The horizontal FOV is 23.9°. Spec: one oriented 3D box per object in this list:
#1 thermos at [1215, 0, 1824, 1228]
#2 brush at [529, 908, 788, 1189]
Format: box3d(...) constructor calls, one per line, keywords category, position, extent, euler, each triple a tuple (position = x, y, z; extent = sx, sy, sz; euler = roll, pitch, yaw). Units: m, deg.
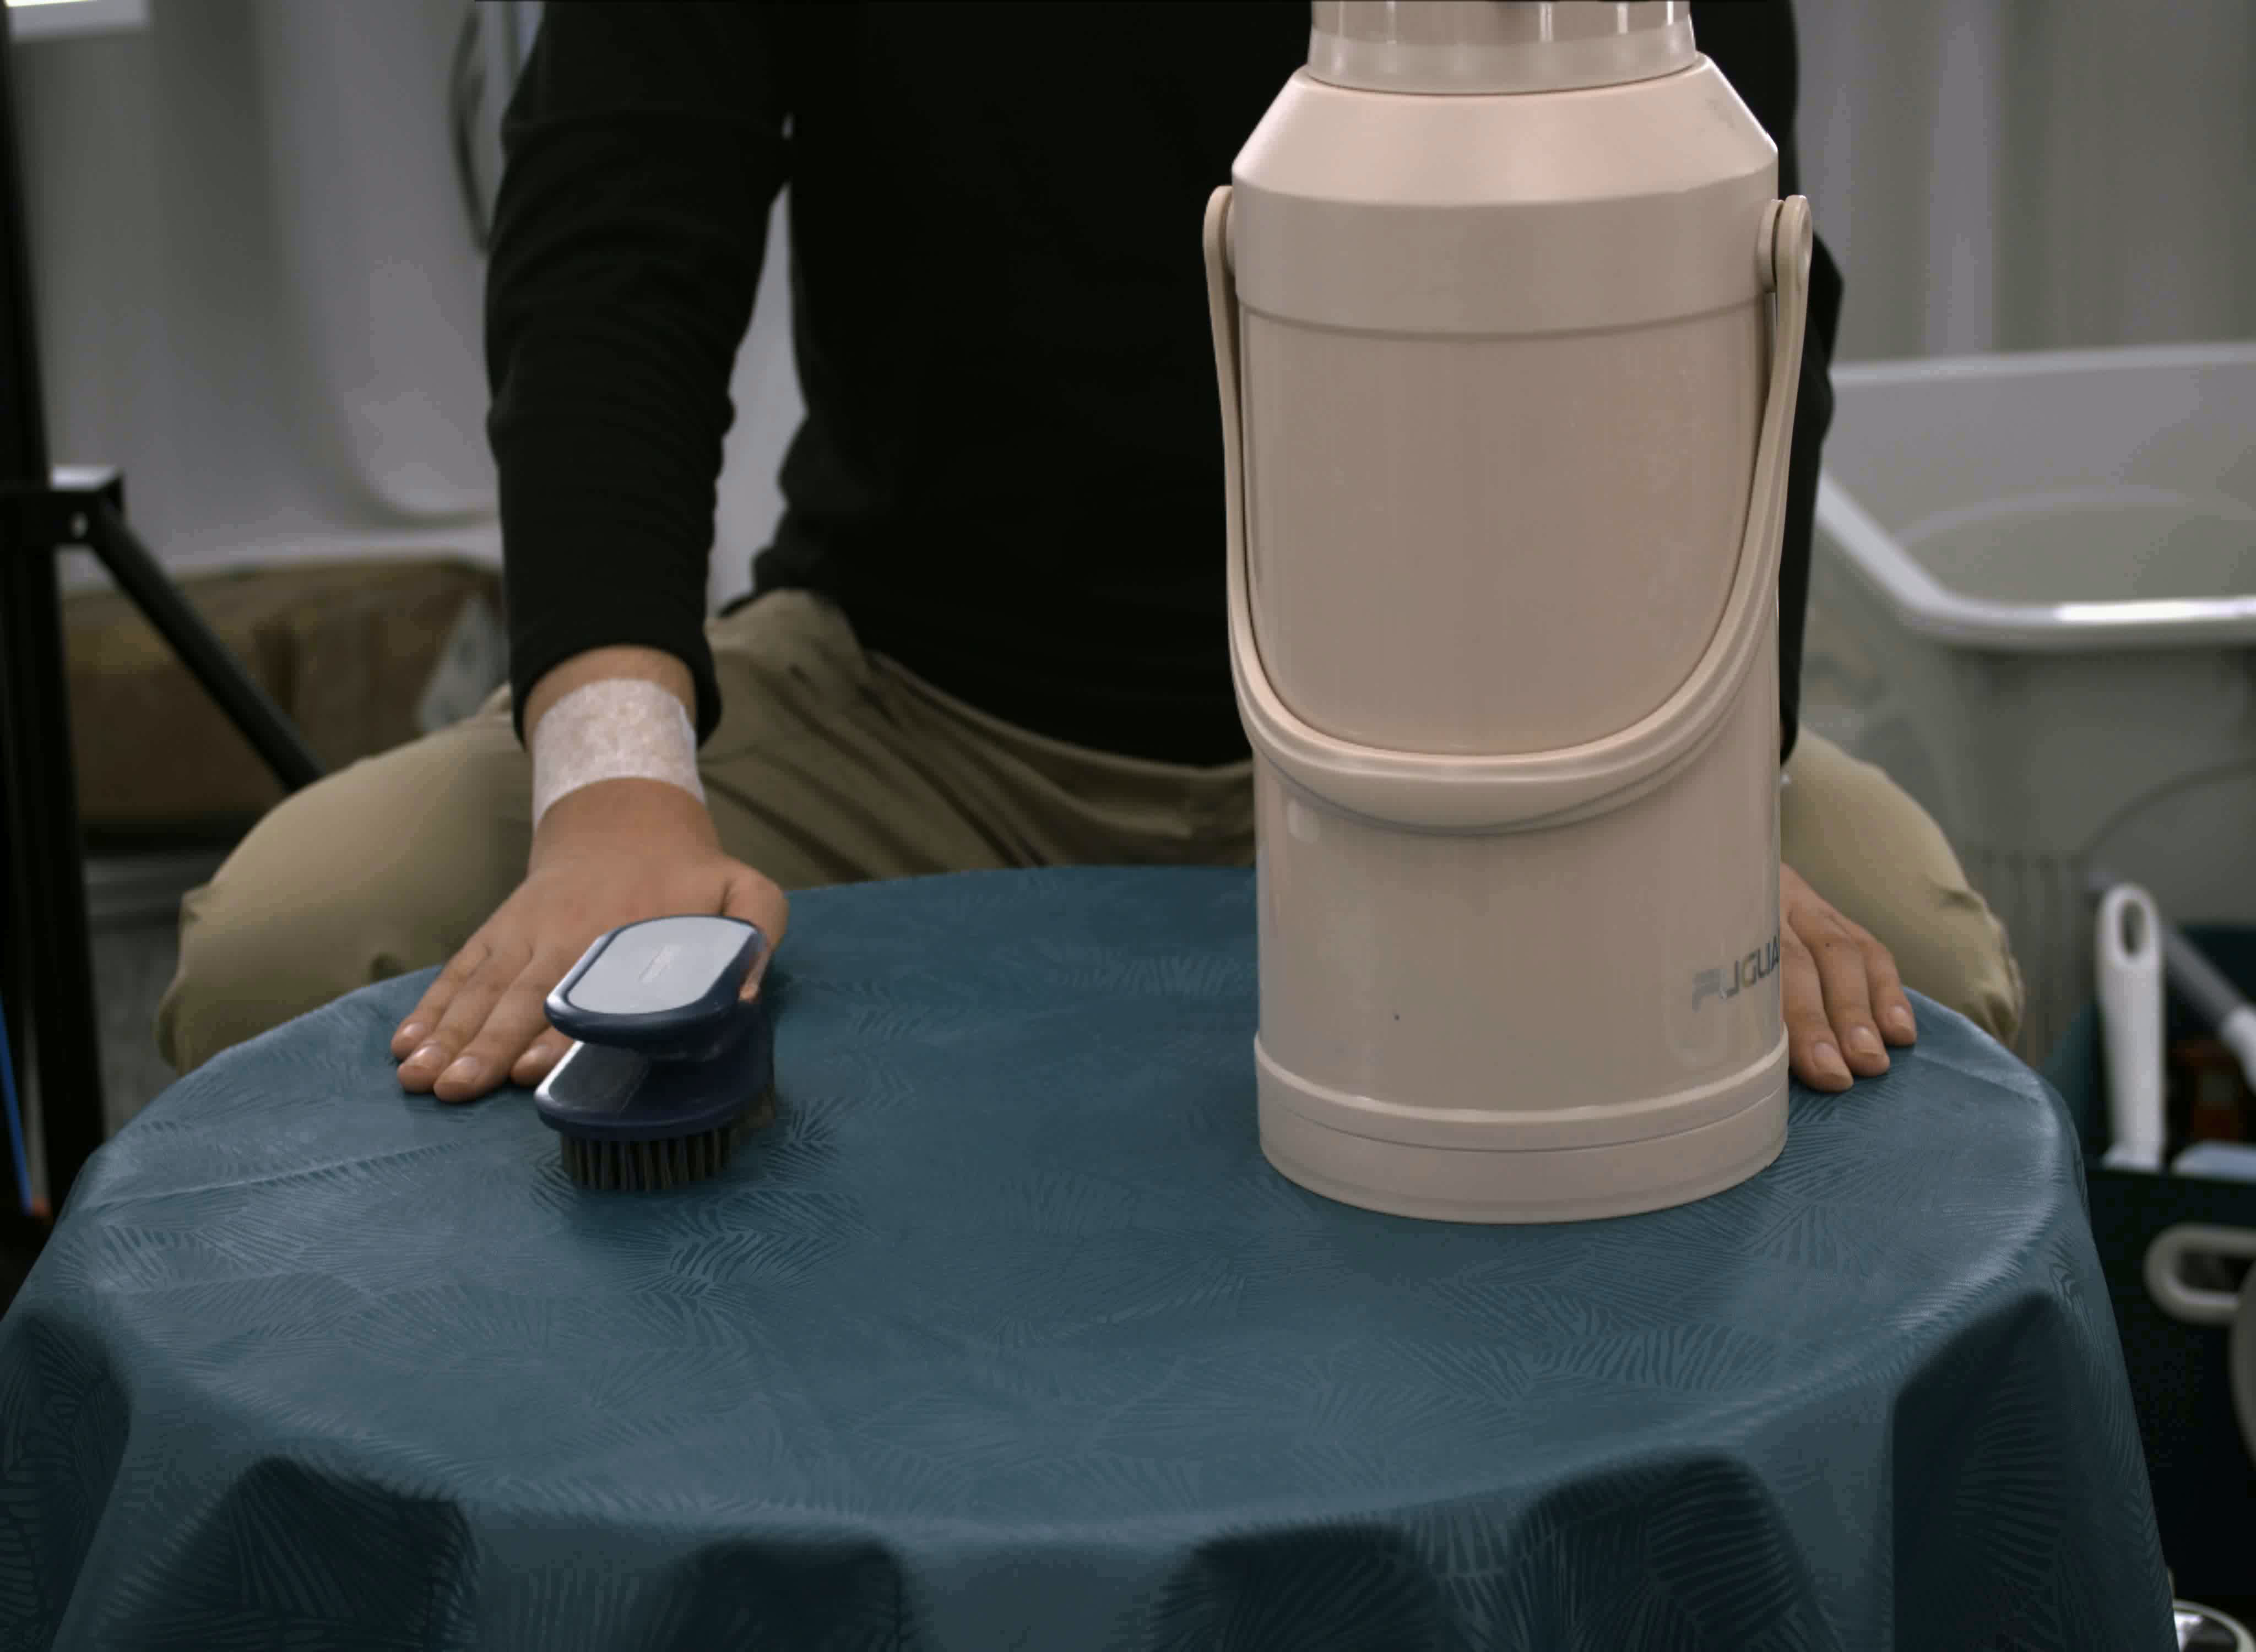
box3d(category="thermos", position=(0.120, -0.101, 1.550), extent=(0.177, 0.406, 0.205), euler=(2, 16, 20))
box3d(category="brush", position=(-0.142, 0.069, 1.621), extent=(0.068, 0.061, 0.121), euler=(2, 17, 12))
